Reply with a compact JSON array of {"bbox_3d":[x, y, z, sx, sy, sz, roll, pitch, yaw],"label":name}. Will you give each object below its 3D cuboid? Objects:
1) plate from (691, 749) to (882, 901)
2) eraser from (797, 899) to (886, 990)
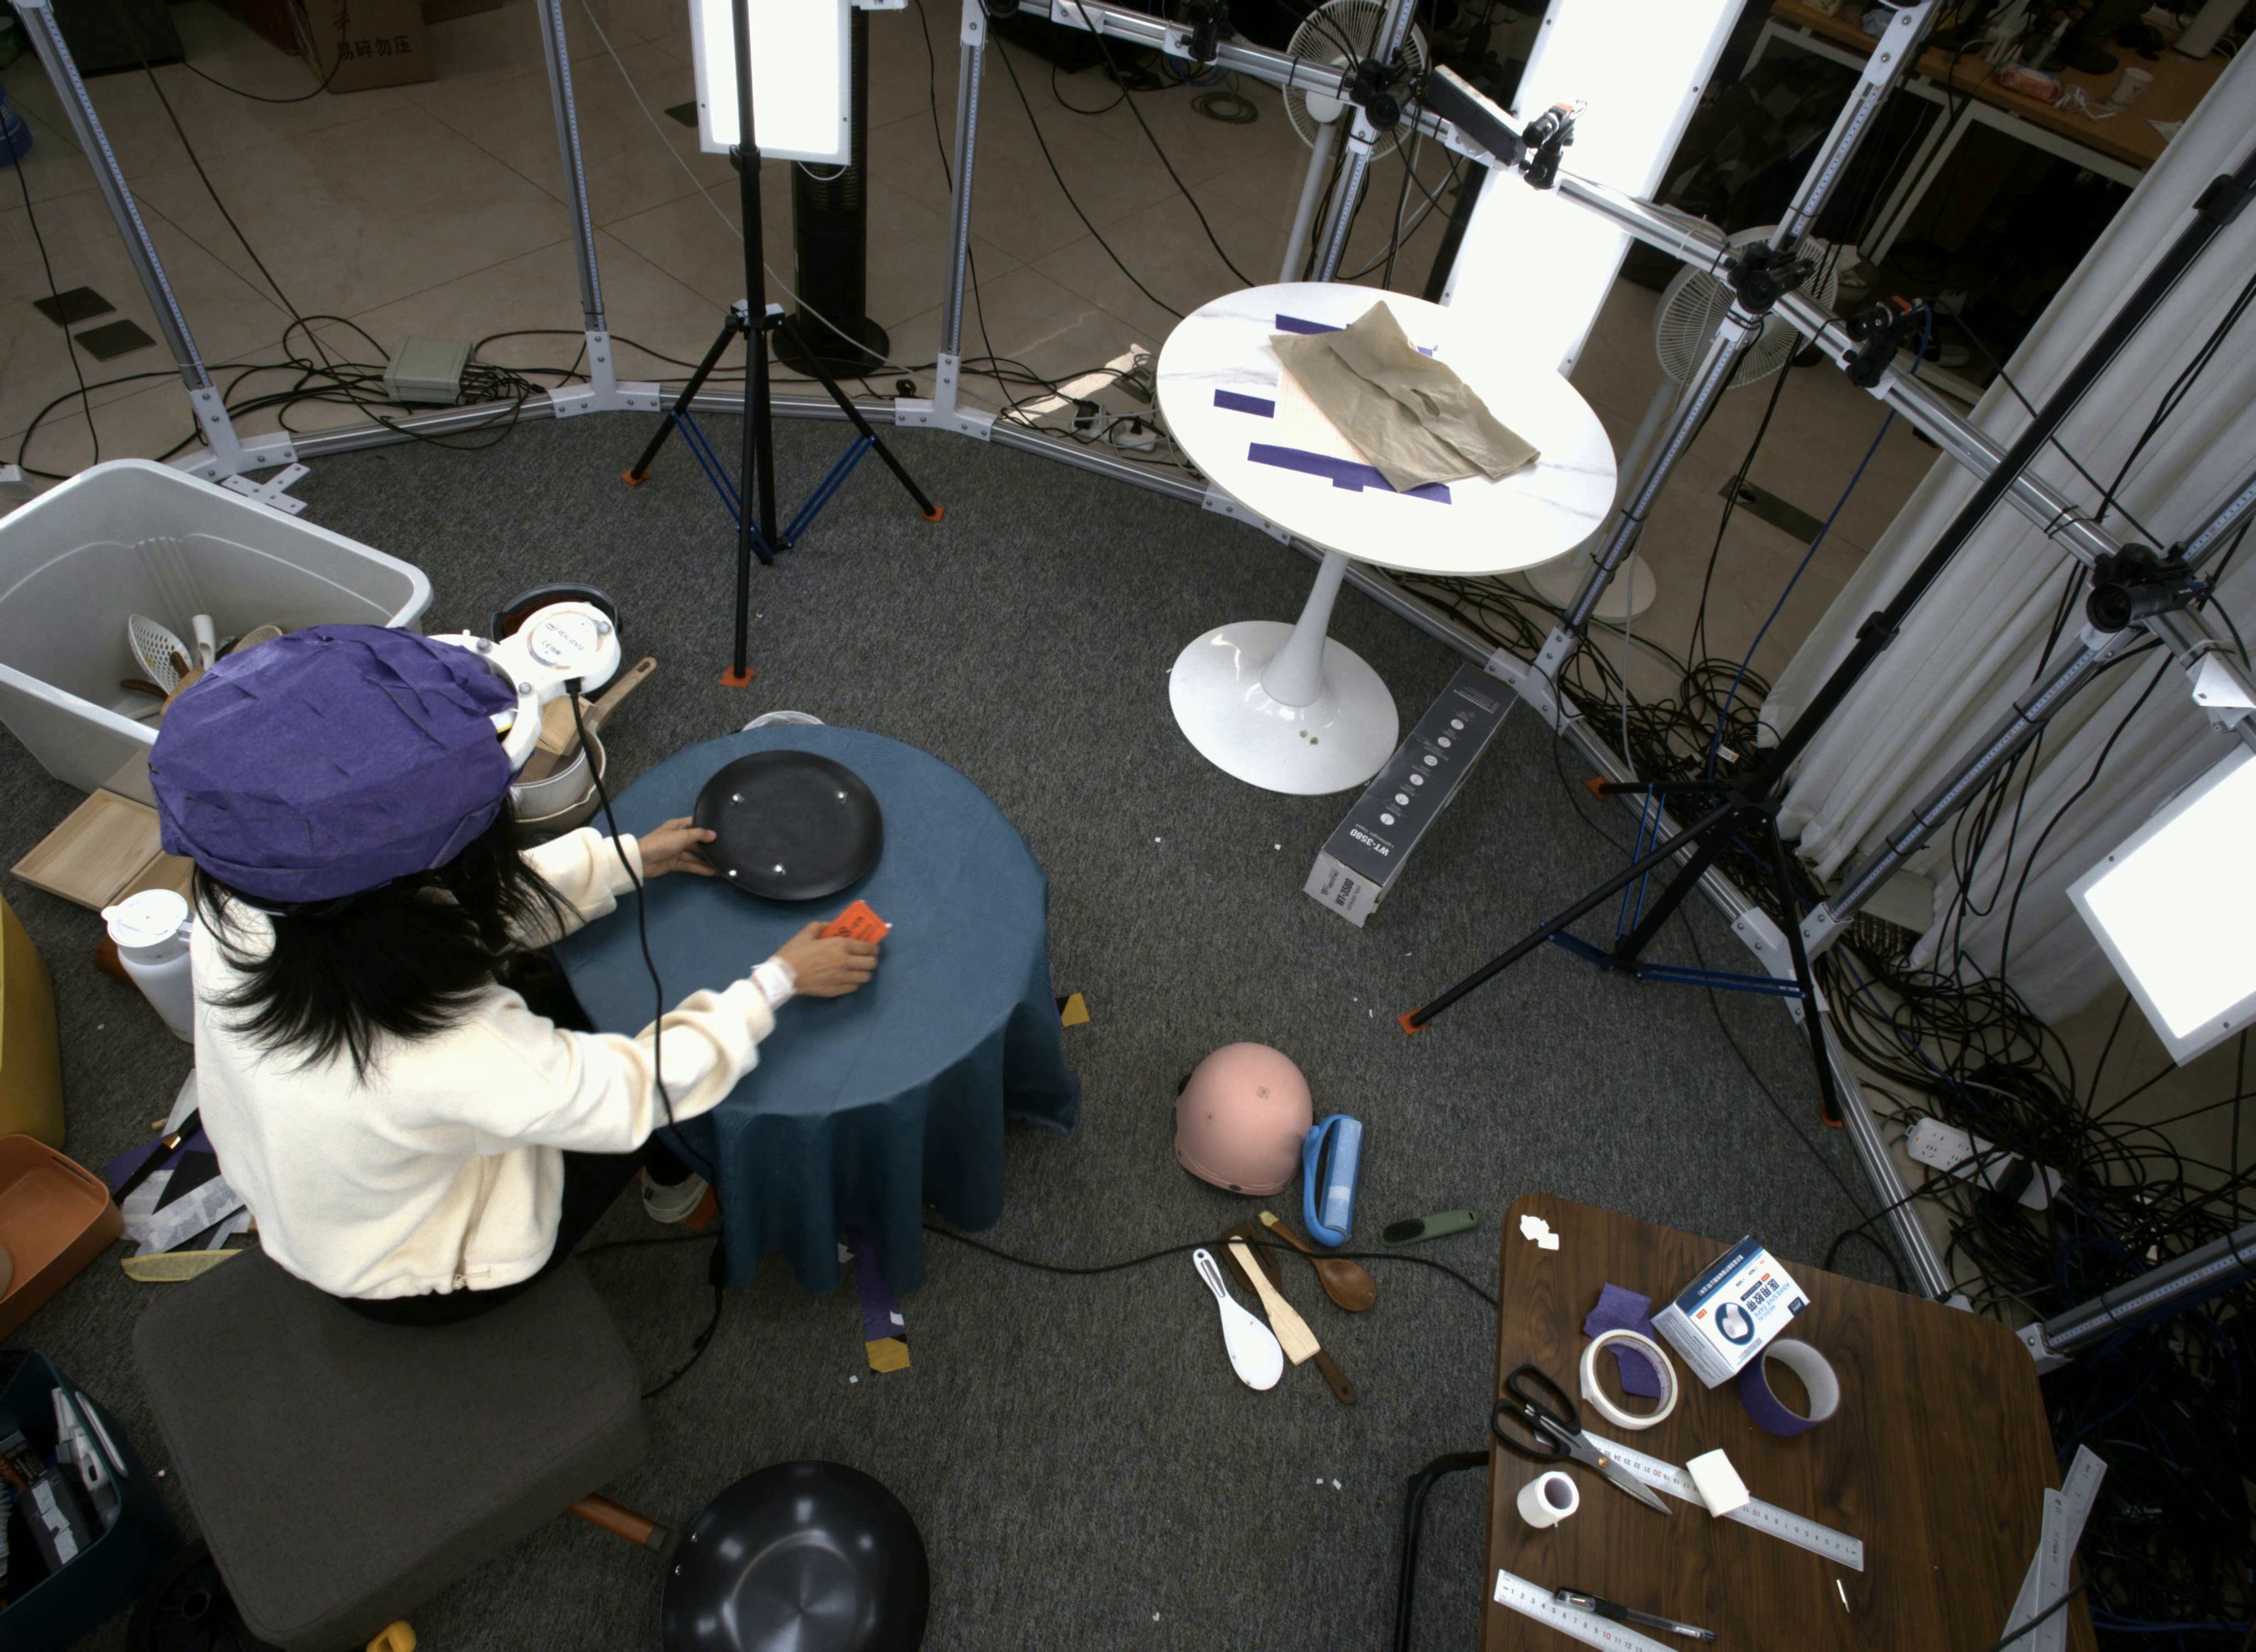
[{"bbox_3d":[-0.444,0.000,1.689,0.245,0.024,0.240,11,52,-13],"label":"plate"},{"bbox_3d":[-0.351,0.143,1.591,0.060,0.022,0.108,46,61,-9],"label":"eraser"}]
